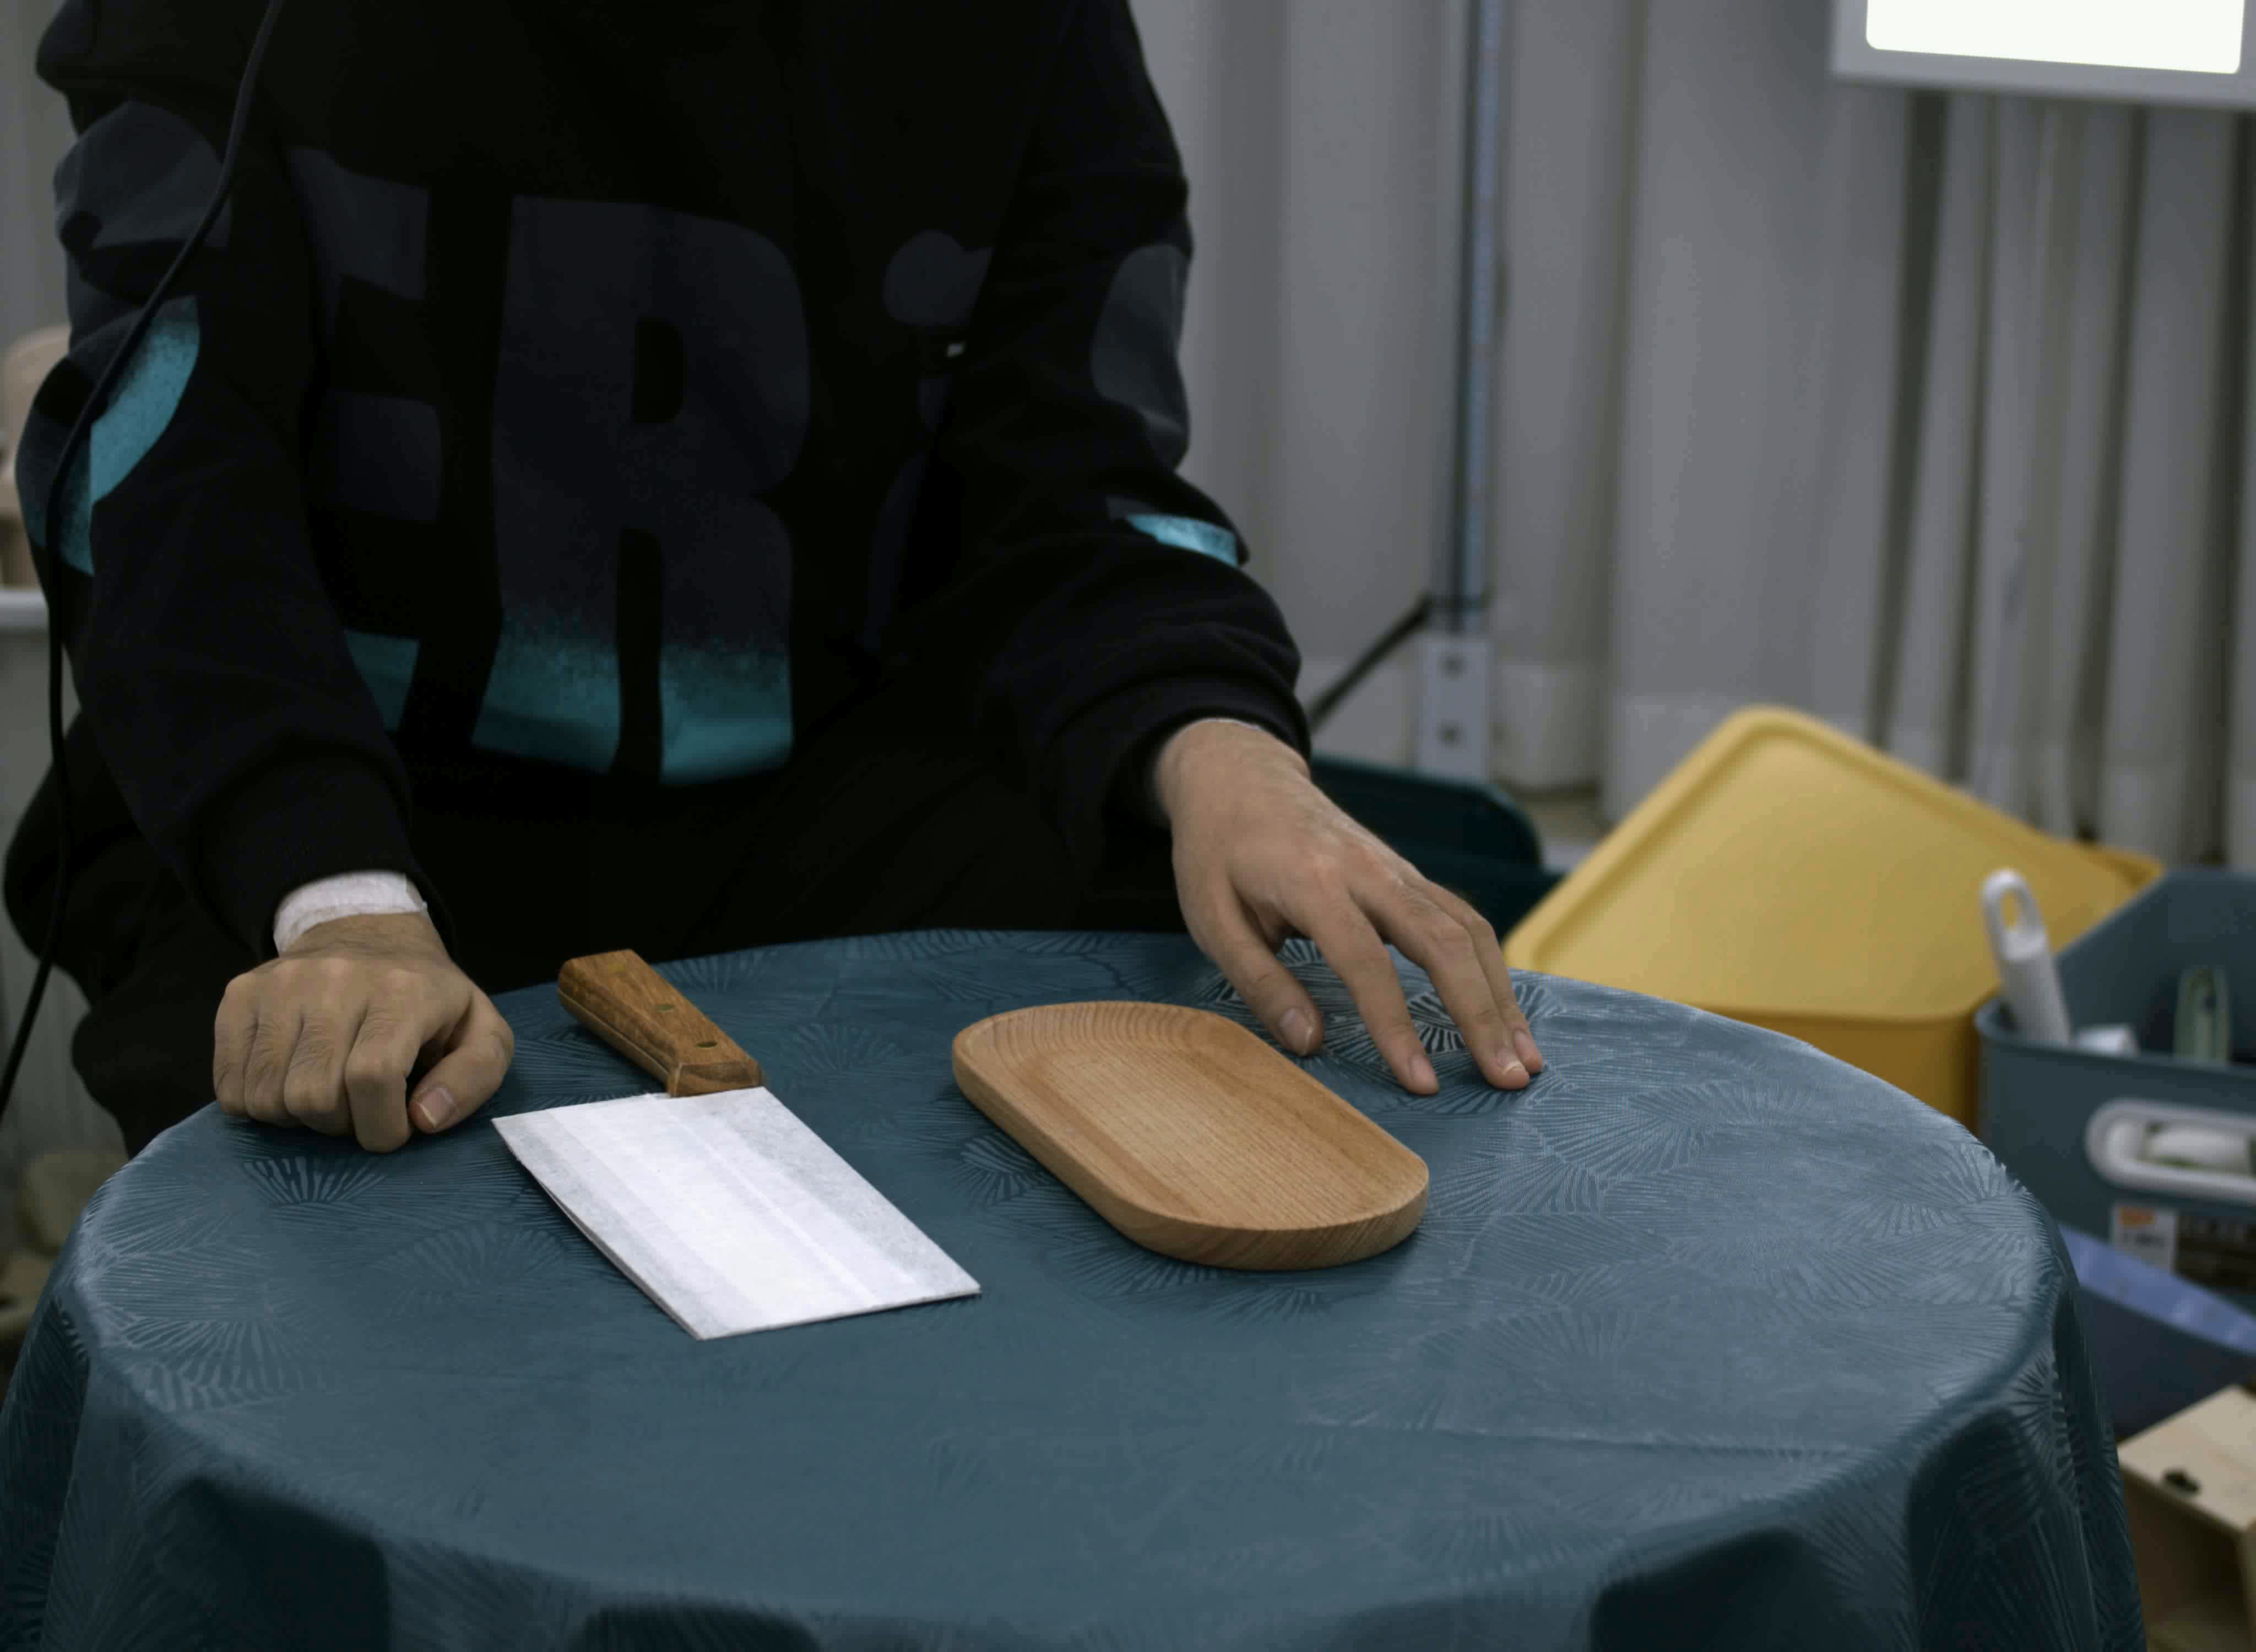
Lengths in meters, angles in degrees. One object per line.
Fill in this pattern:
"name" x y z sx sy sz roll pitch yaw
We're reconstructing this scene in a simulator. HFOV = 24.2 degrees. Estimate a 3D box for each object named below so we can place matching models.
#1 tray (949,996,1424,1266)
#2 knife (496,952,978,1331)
"tray" 0.016 0.094 1.658 0.102 0.020 0.228 -5 16 -21
"knife" -0.143 0.097 1.644 0.093 0.021 0.302 -8 20 -23
